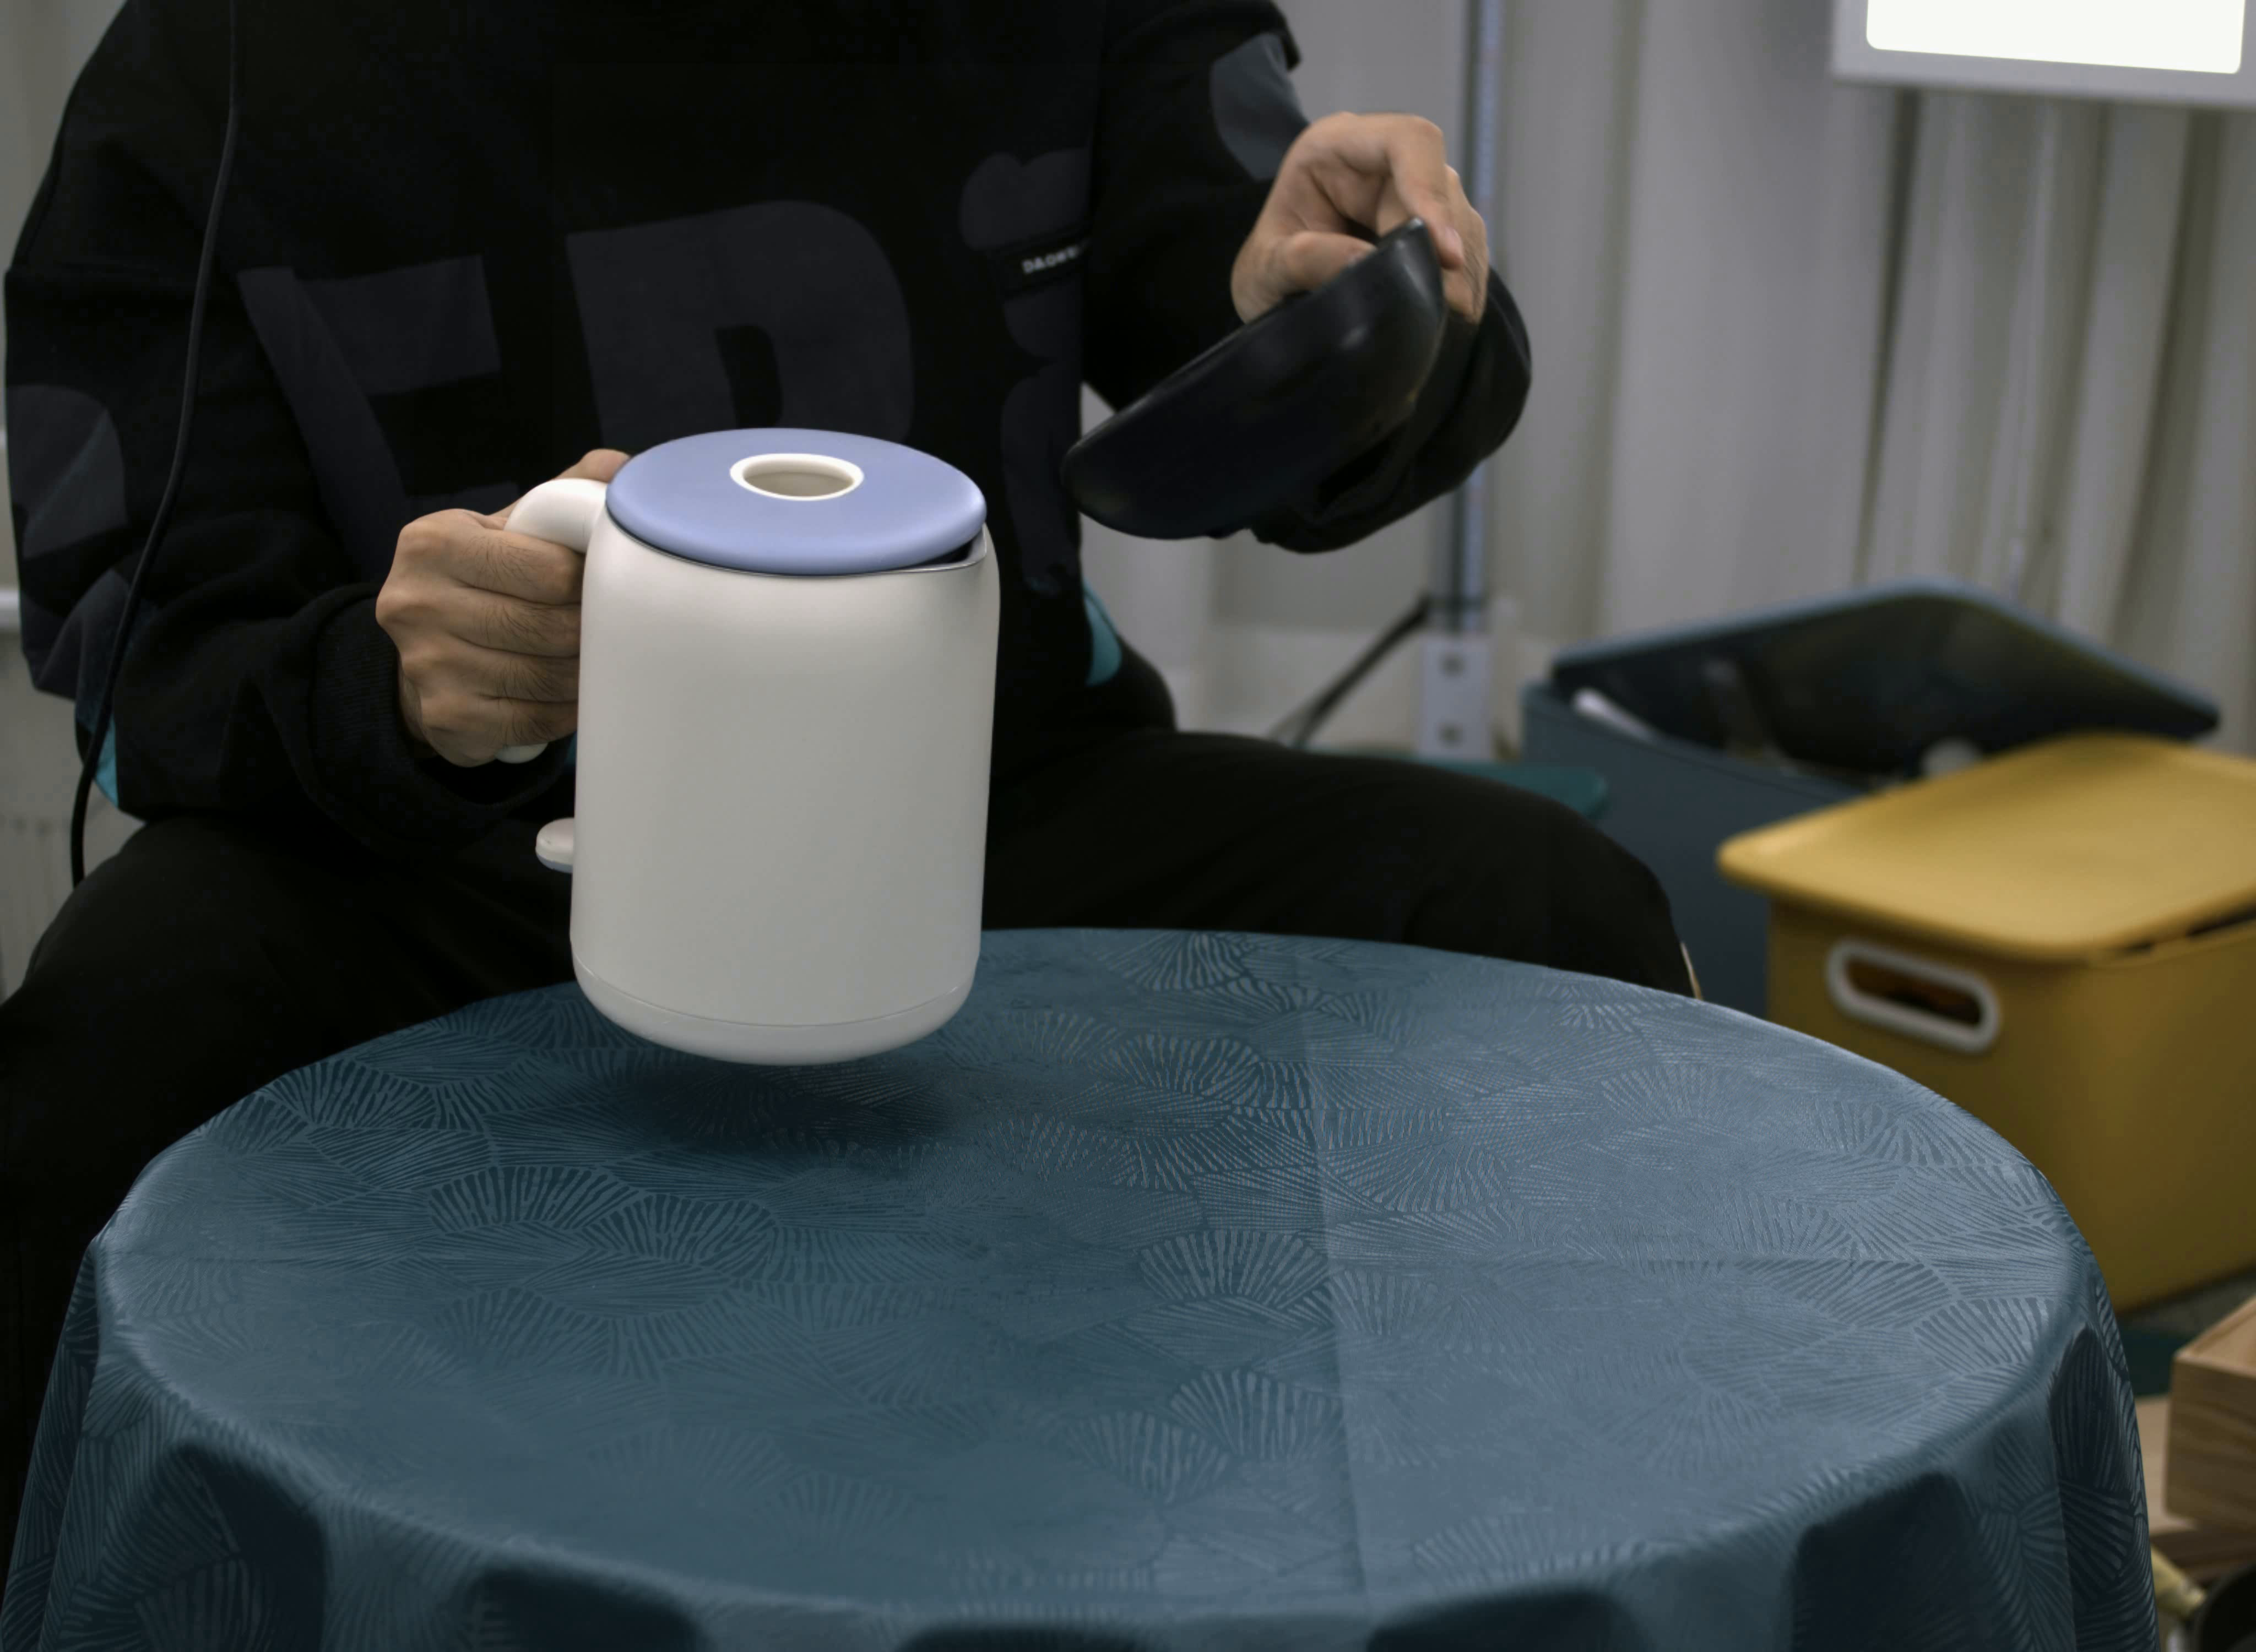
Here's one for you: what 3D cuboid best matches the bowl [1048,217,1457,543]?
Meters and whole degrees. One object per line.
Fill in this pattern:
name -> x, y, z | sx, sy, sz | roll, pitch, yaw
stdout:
bowl -> 0.046, -0.125, 1.580 | 0.140, 0.050, 0.140 | -33, 3, 3

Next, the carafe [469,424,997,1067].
carafe -> -0.129, -0.032, 1.664 | 0.189, 0.184, 0.132 | 14, 24, 28
